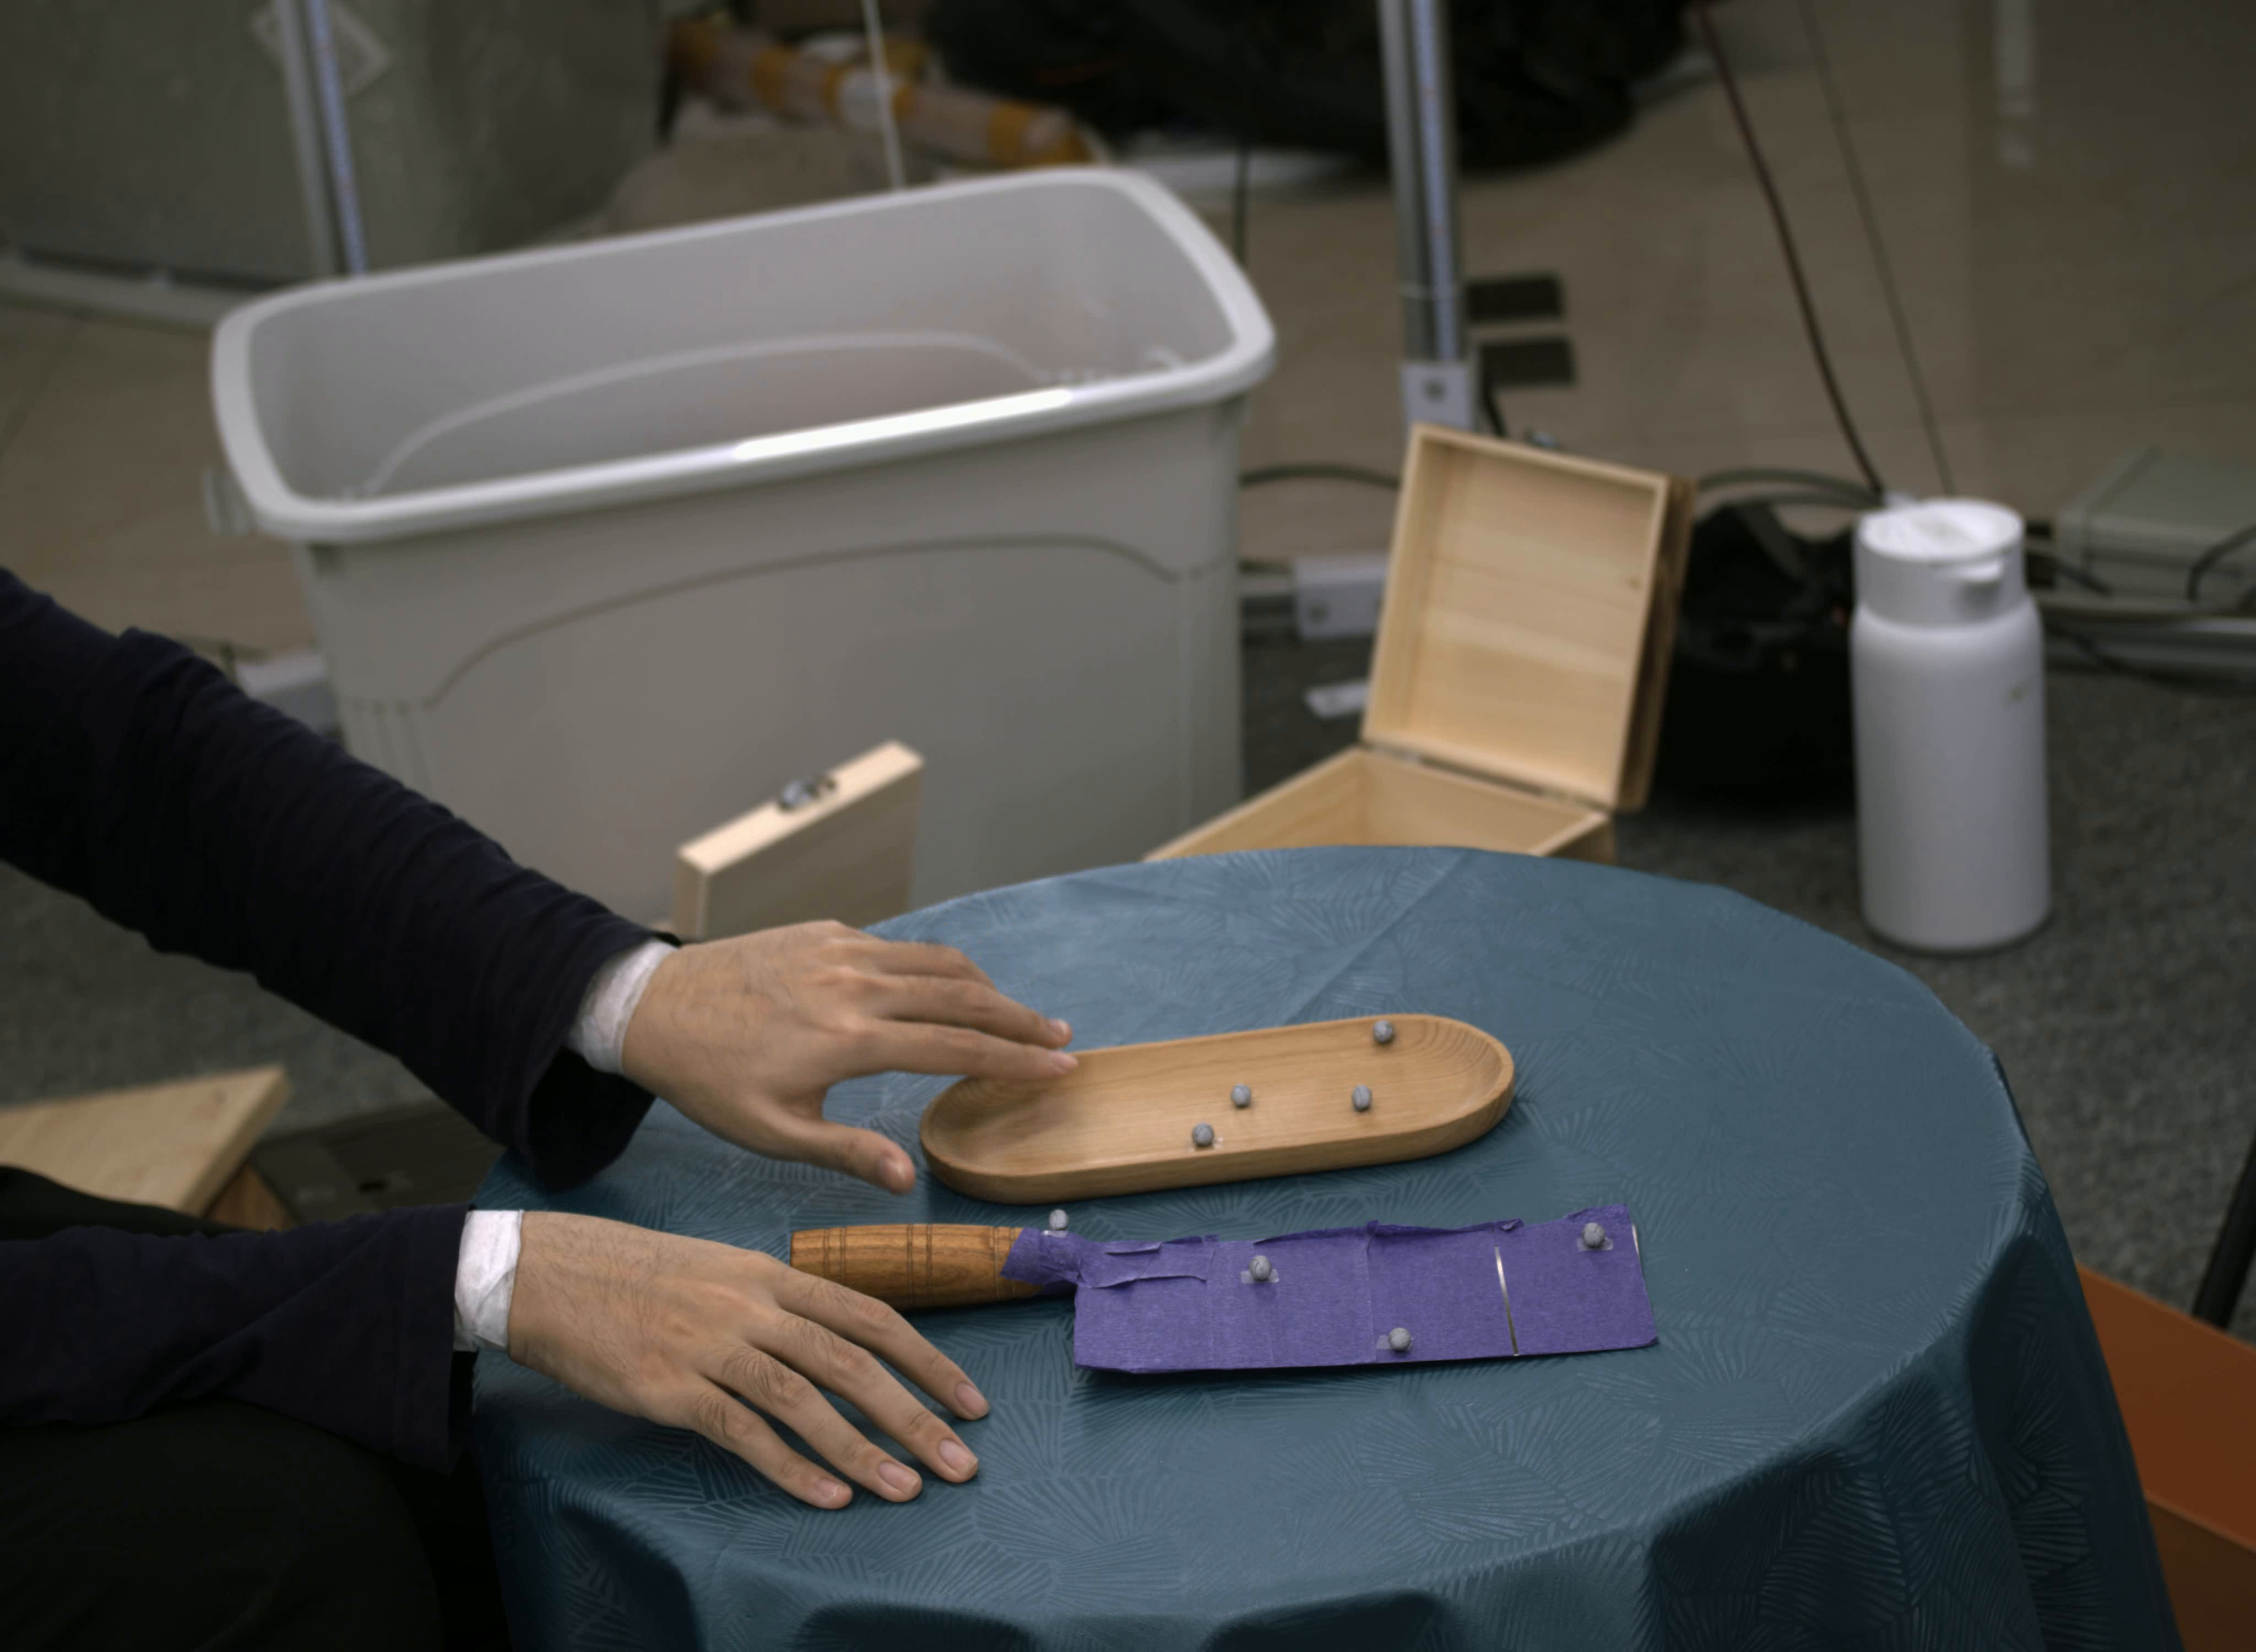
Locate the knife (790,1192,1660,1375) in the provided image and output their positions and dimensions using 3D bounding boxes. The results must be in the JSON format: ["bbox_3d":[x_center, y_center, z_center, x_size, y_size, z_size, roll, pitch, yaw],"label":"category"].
[{"bbox_3d":[0.033,0.167,2.050,0.315,0.033,0.102,-5,25,2],"label":"knife"}]

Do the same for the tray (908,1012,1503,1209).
[{"bbox_3d":[0.030,0.110,2.187,0.231,0.020,0.100,-9,24,0],"label":"tray"}]
